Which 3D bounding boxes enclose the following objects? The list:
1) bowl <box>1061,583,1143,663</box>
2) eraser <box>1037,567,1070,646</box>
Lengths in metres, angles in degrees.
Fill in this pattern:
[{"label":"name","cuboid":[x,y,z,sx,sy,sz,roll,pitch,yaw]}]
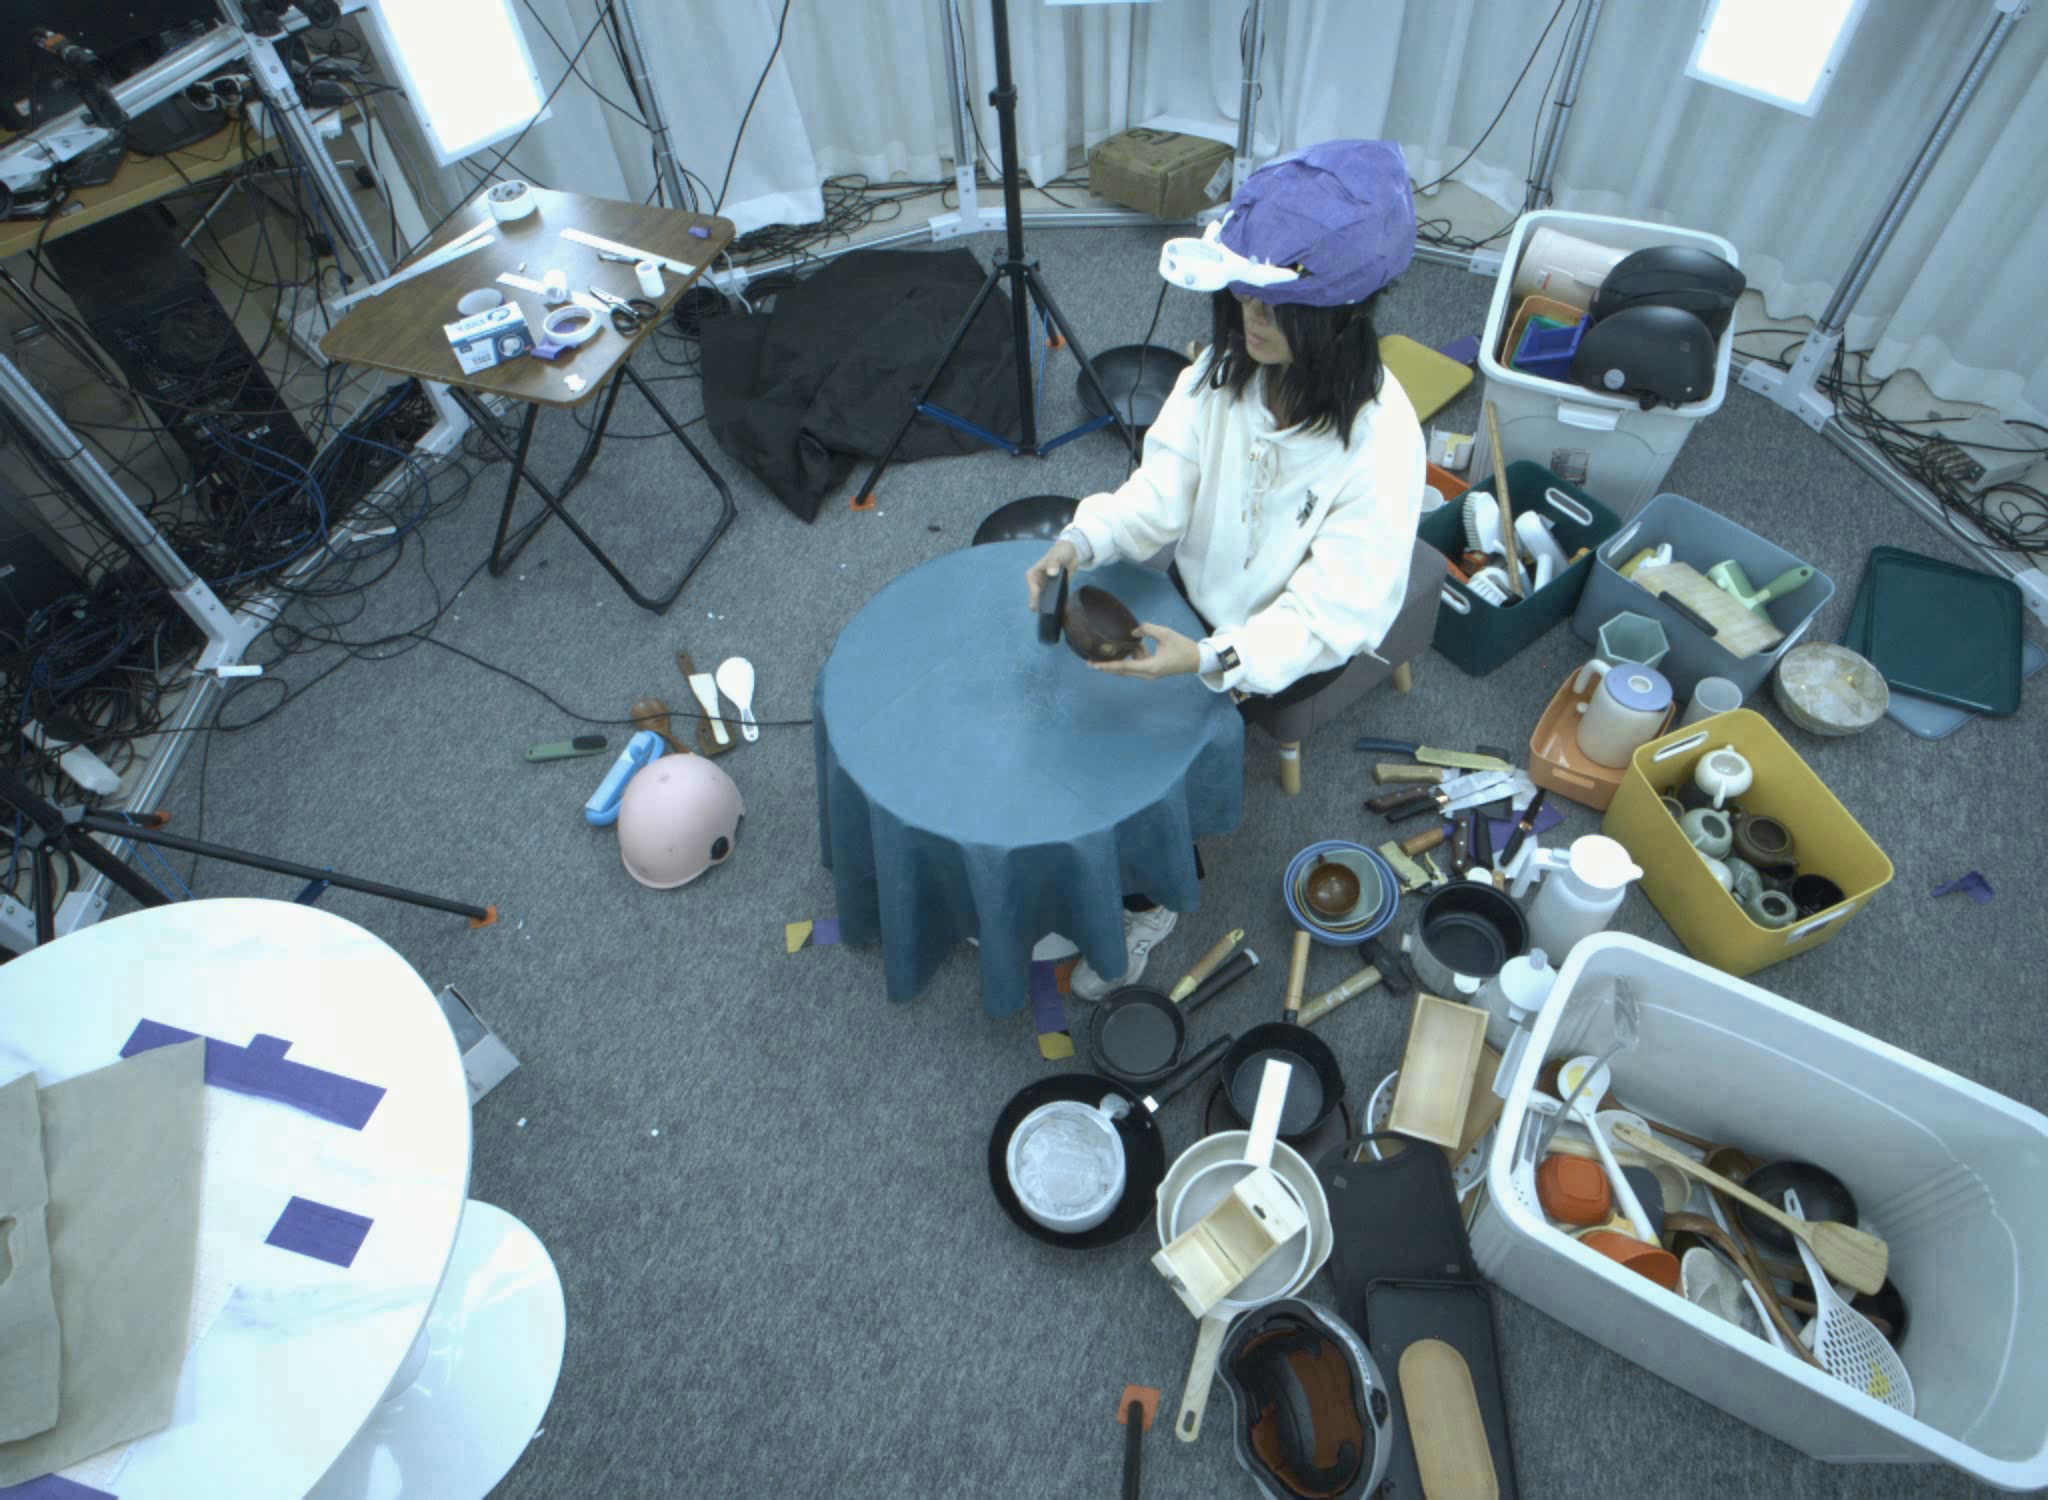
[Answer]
[{"label":"bowl","cuboid":[0.101,-0.169,1.723,0.120,0.069,0.117,30,35,-22]},{"label":"eraser","cuboid":[0.042,-0.204,1.740,0.030,0.054,0.125,6,42,7]}]
